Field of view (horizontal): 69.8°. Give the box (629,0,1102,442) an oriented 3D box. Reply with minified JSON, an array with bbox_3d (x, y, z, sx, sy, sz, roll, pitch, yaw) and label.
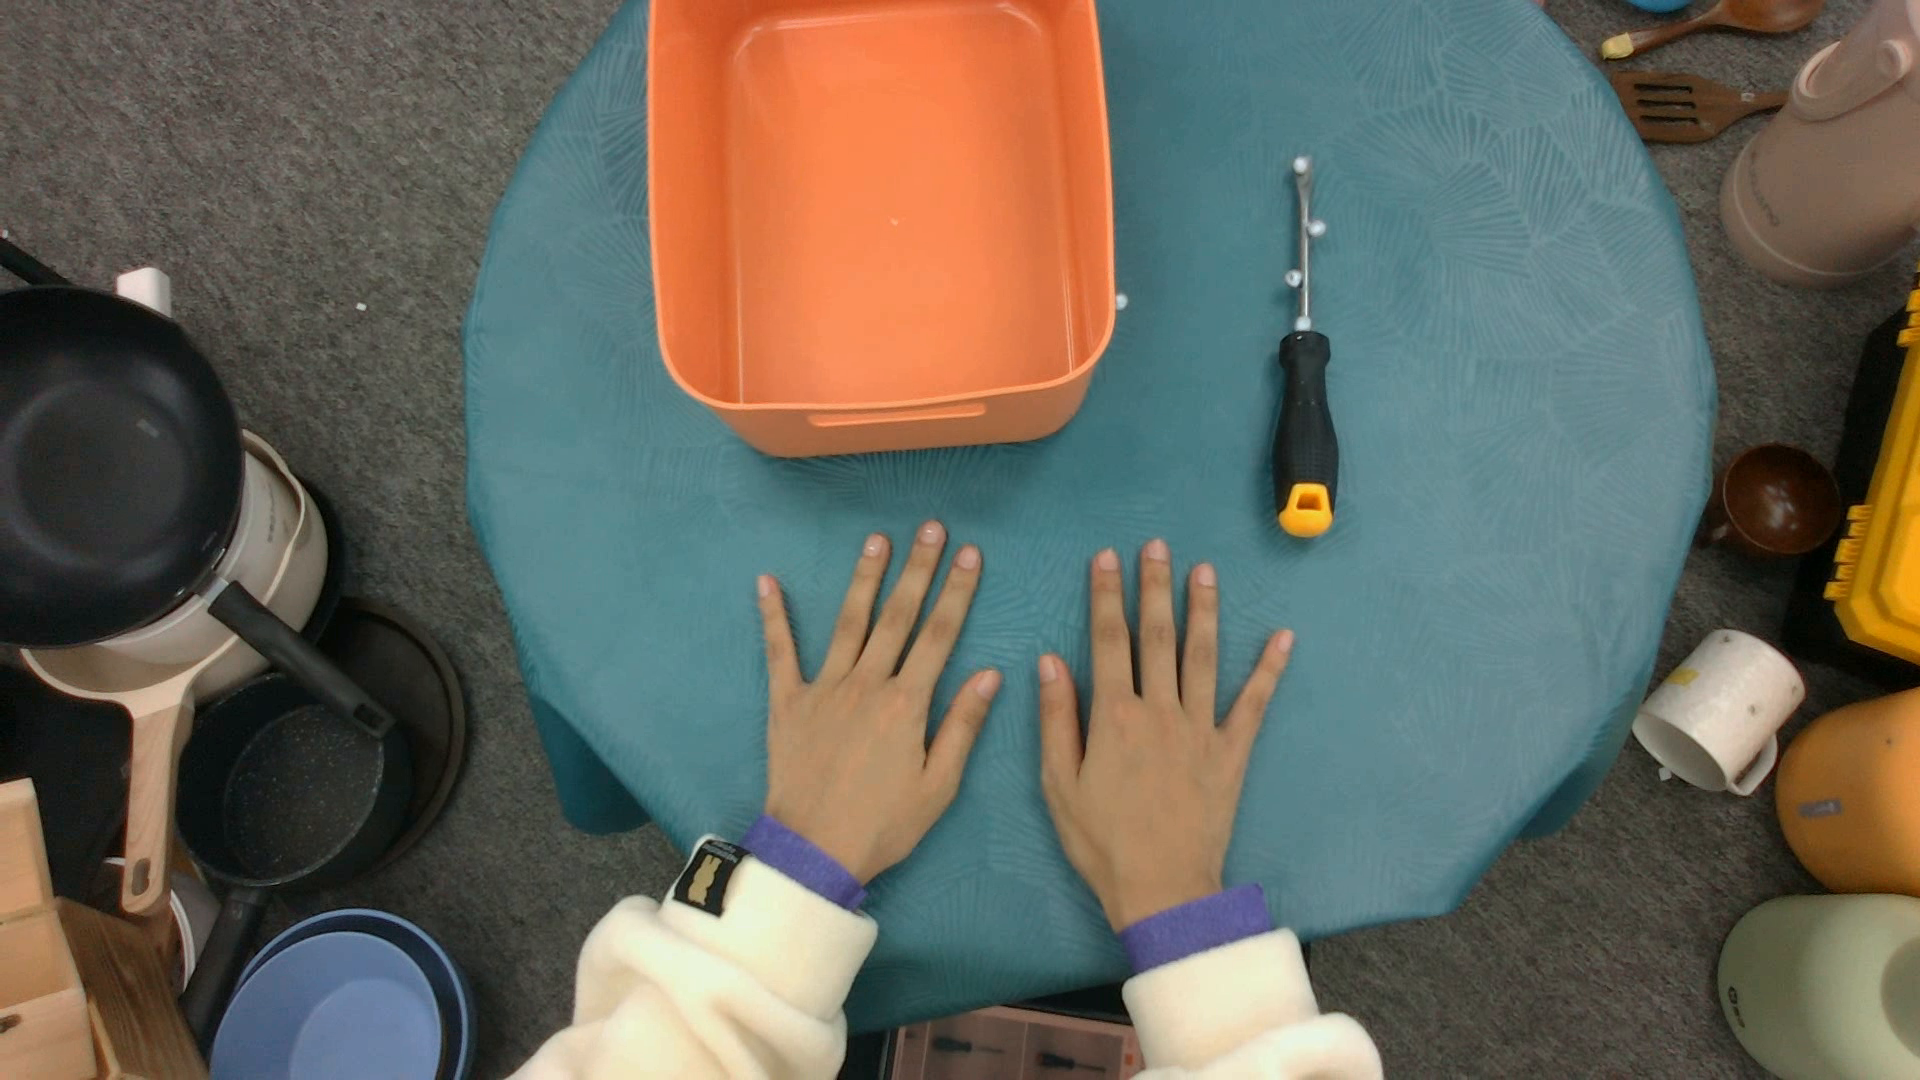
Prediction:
[{"bbox_3d":[-0.043,-0.179,0.640,0.199,0.102,0.274,-4,74,0],"label":"box"}]

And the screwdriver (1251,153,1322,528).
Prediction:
[{"bbox_3d":[0.146,-0.097,0.640,0.031,0.031,0.198,-1,65,2],"label":"screwdriver"}]
